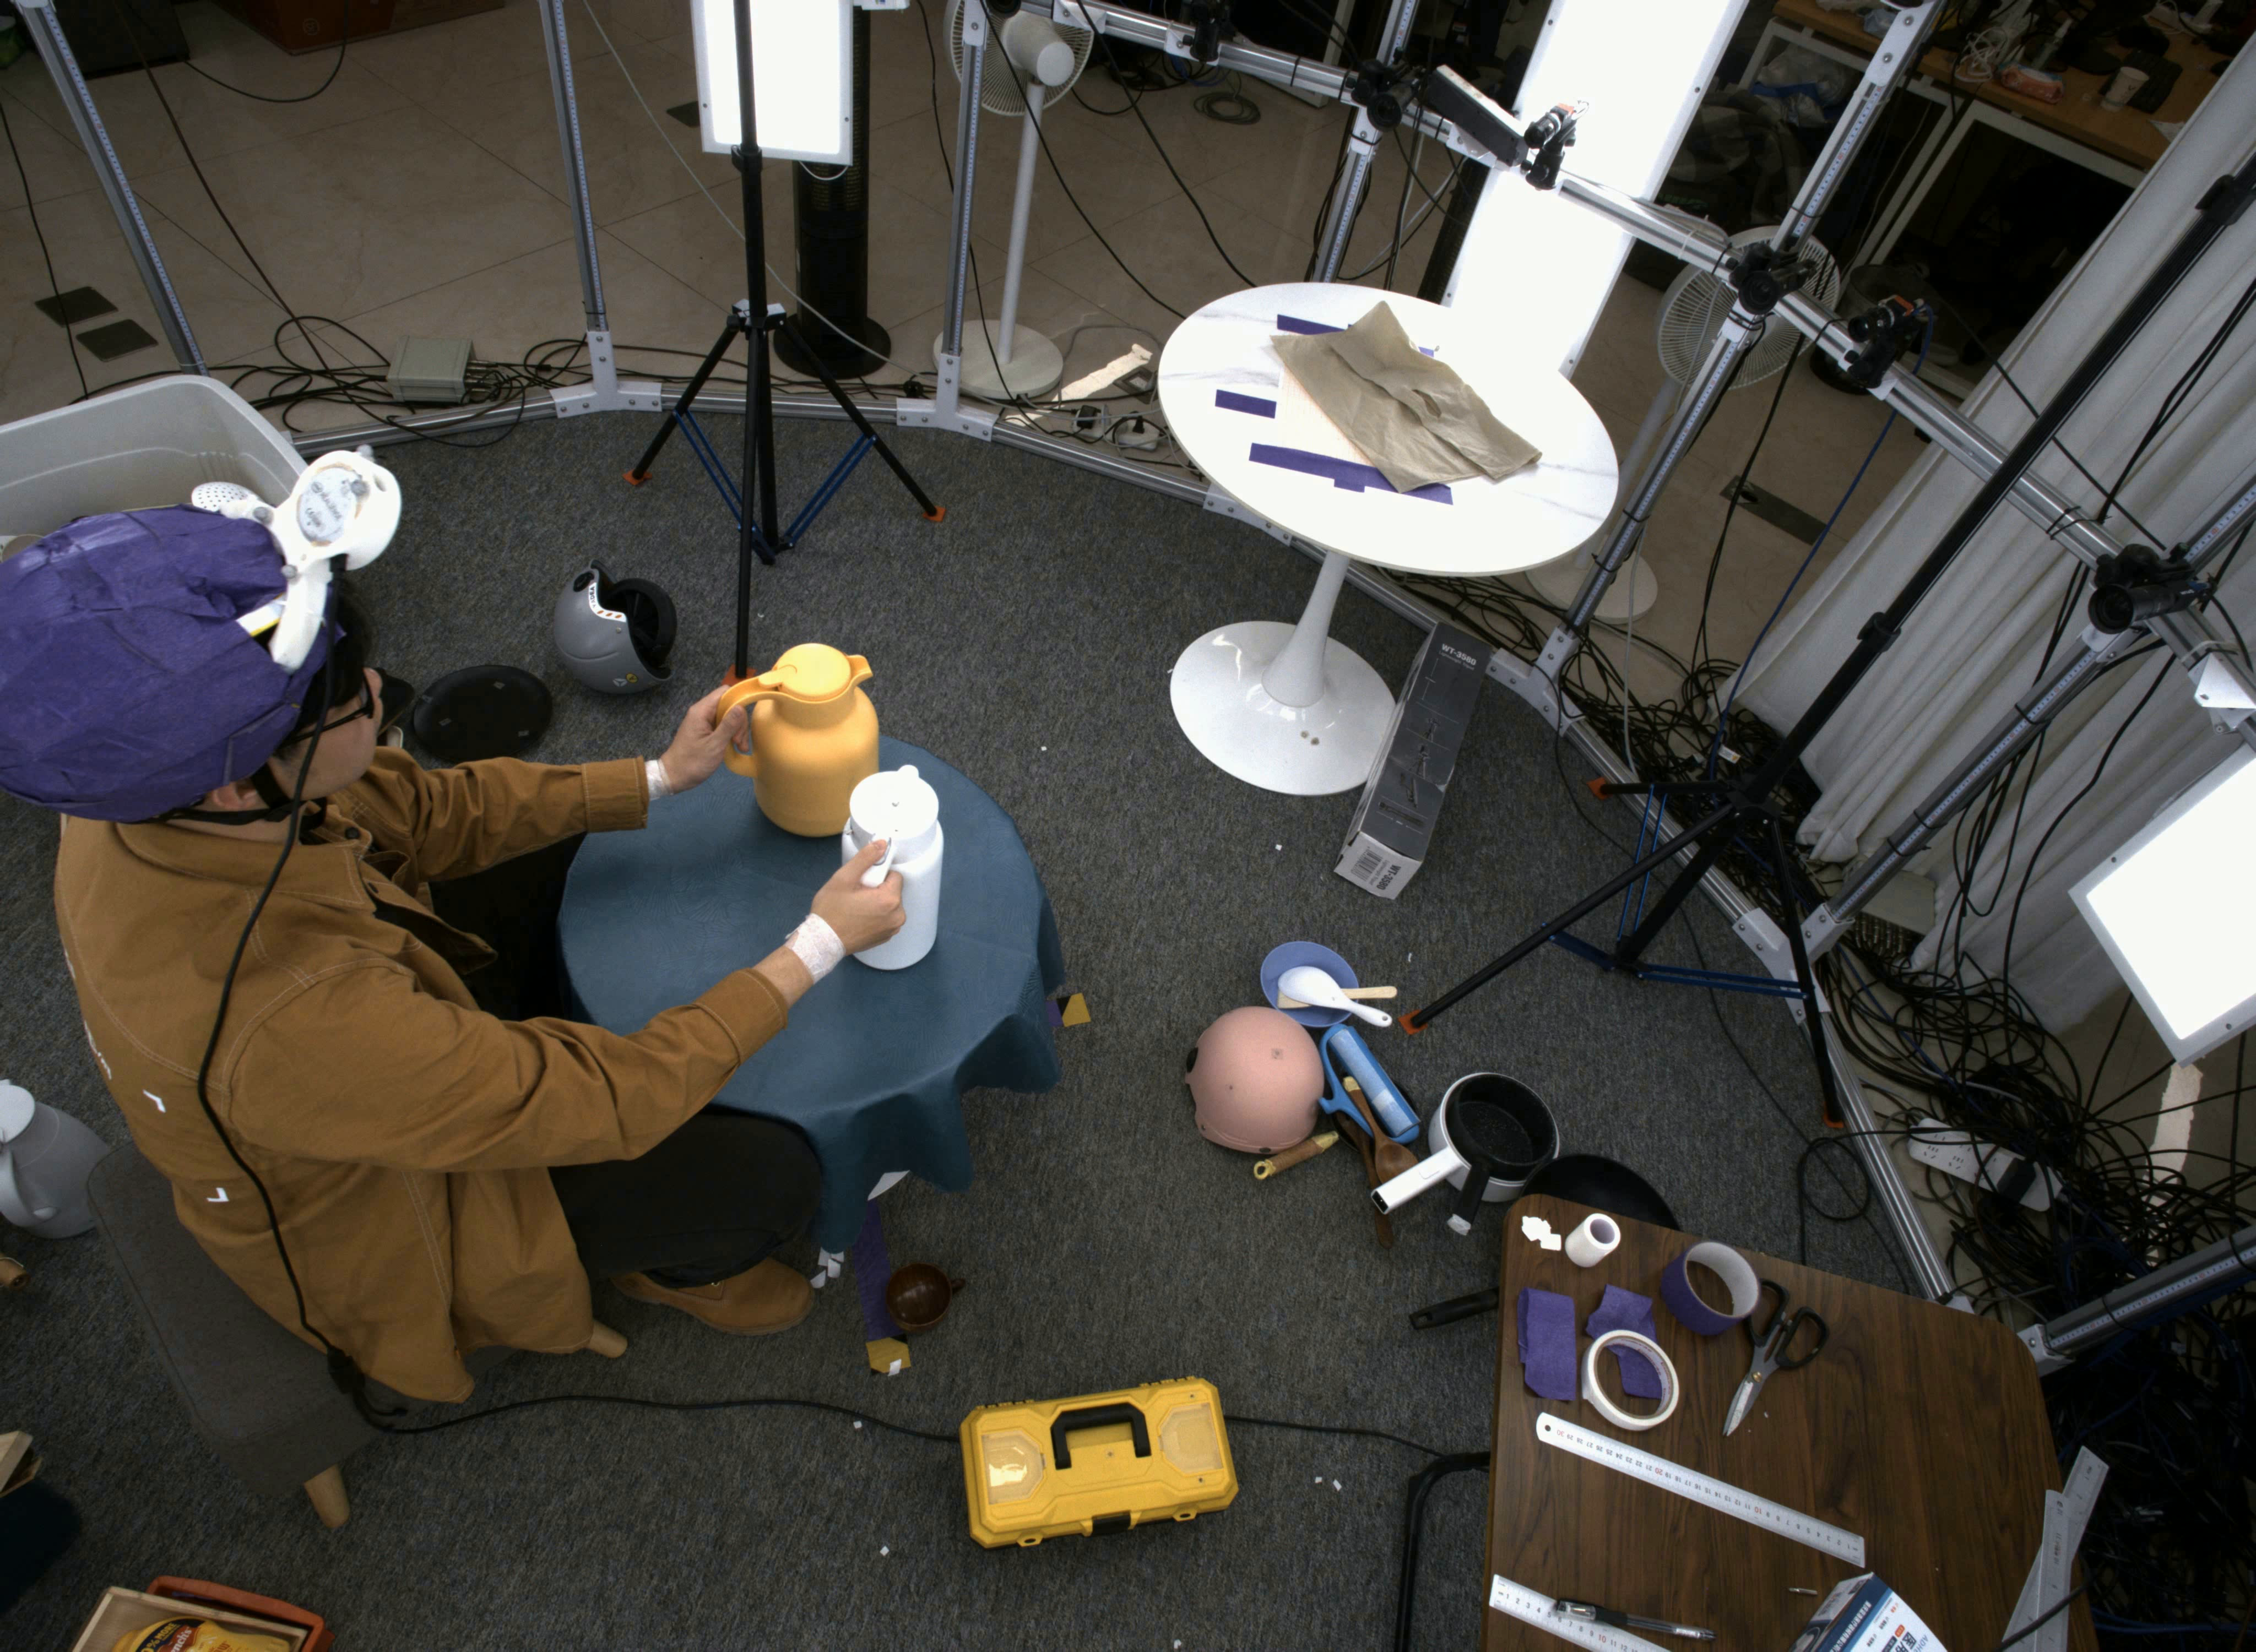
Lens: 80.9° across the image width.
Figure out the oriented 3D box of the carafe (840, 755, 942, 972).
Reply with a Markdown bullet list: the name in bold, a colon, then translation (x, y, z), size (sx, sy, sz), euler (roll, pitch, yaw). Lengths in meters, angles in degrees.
- **carafe**: translation (-0.283, 0.066, 1.535), size (0.123, 0.274, 0.170), euler (13, 50, -3)

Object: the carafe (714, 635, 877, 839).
- **carafe**: translation (-0.418, -0.115, 1.638), size (0.203, 0.266, 0.159), euler (-12, 53, -22)
